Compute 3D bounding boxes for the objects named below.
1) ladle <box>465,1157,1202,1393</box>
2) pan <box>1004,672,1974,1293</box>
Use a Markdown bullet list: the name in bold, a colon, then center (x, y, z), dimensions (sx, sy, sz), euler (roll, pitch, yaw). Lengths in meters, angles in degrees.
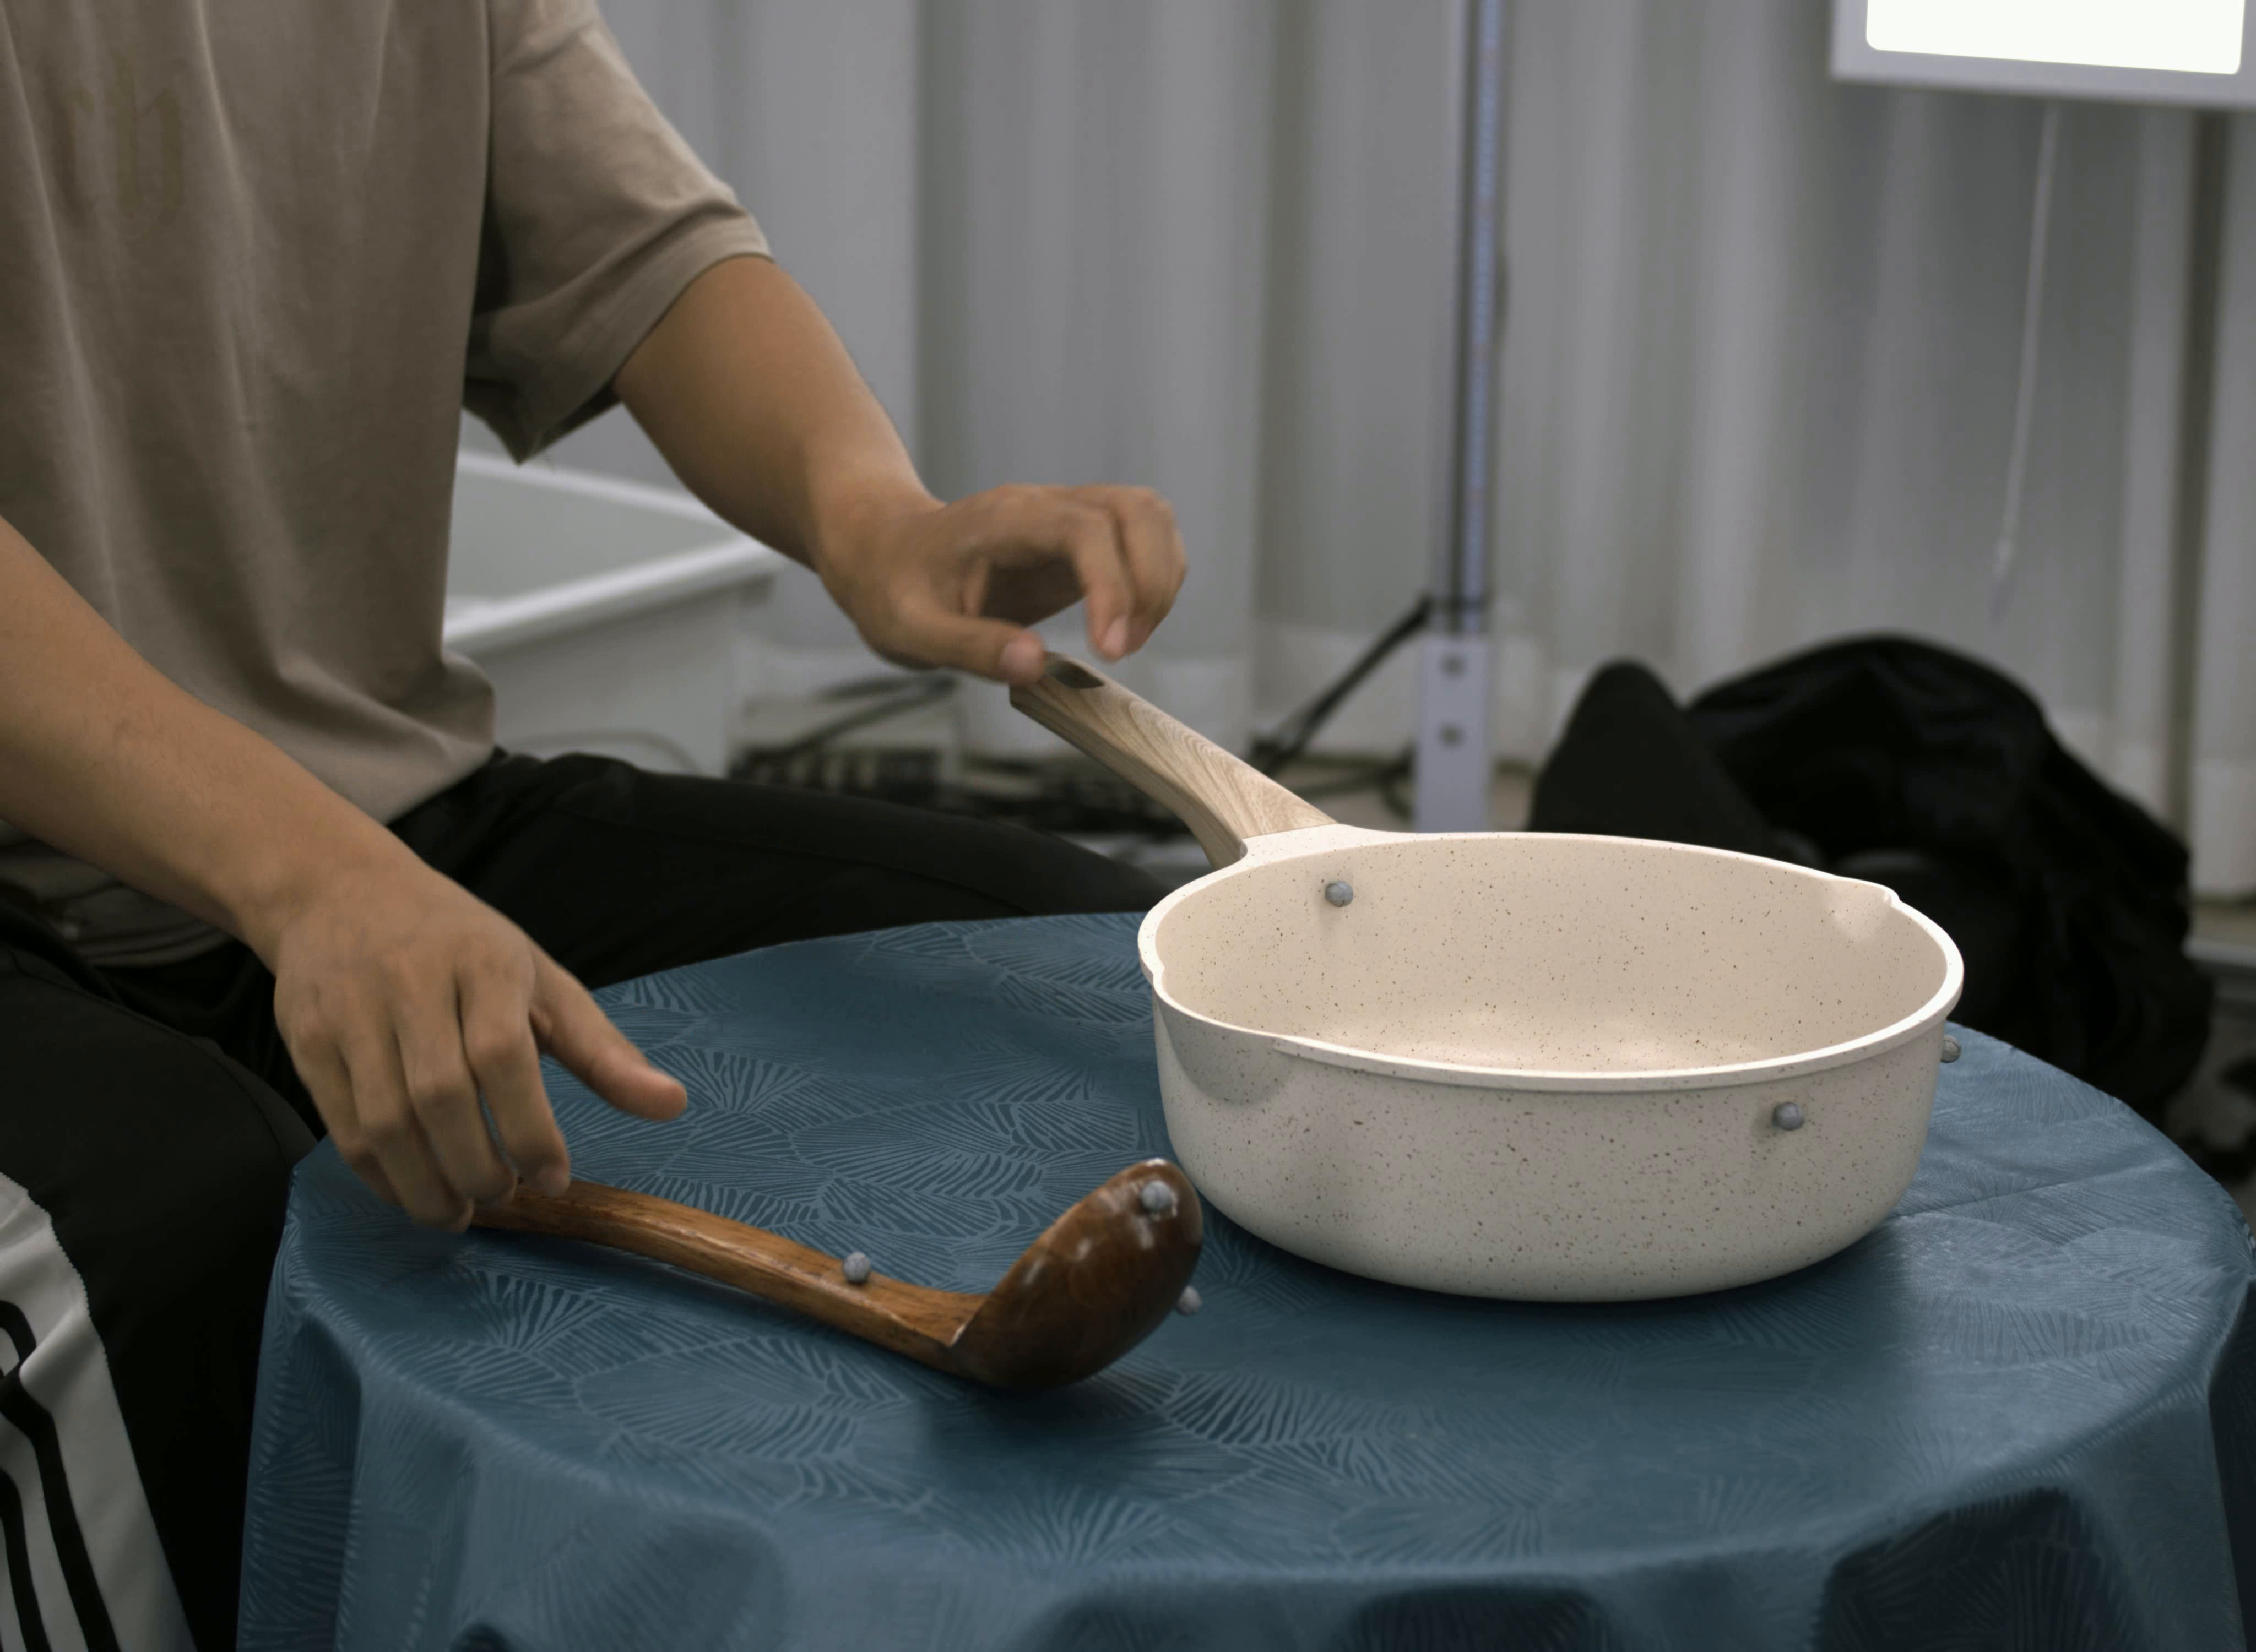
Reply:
- **ladle**: center (-0.095, 0.105, 1.502), dimensions (0.270, 0.077, 0.082), euler (14, 22, 38)
- **pan**: center (0.084, 0.044, 1.690), dimensions (0.264, 0.103, 0.429), euler (-11, 19, -31)
